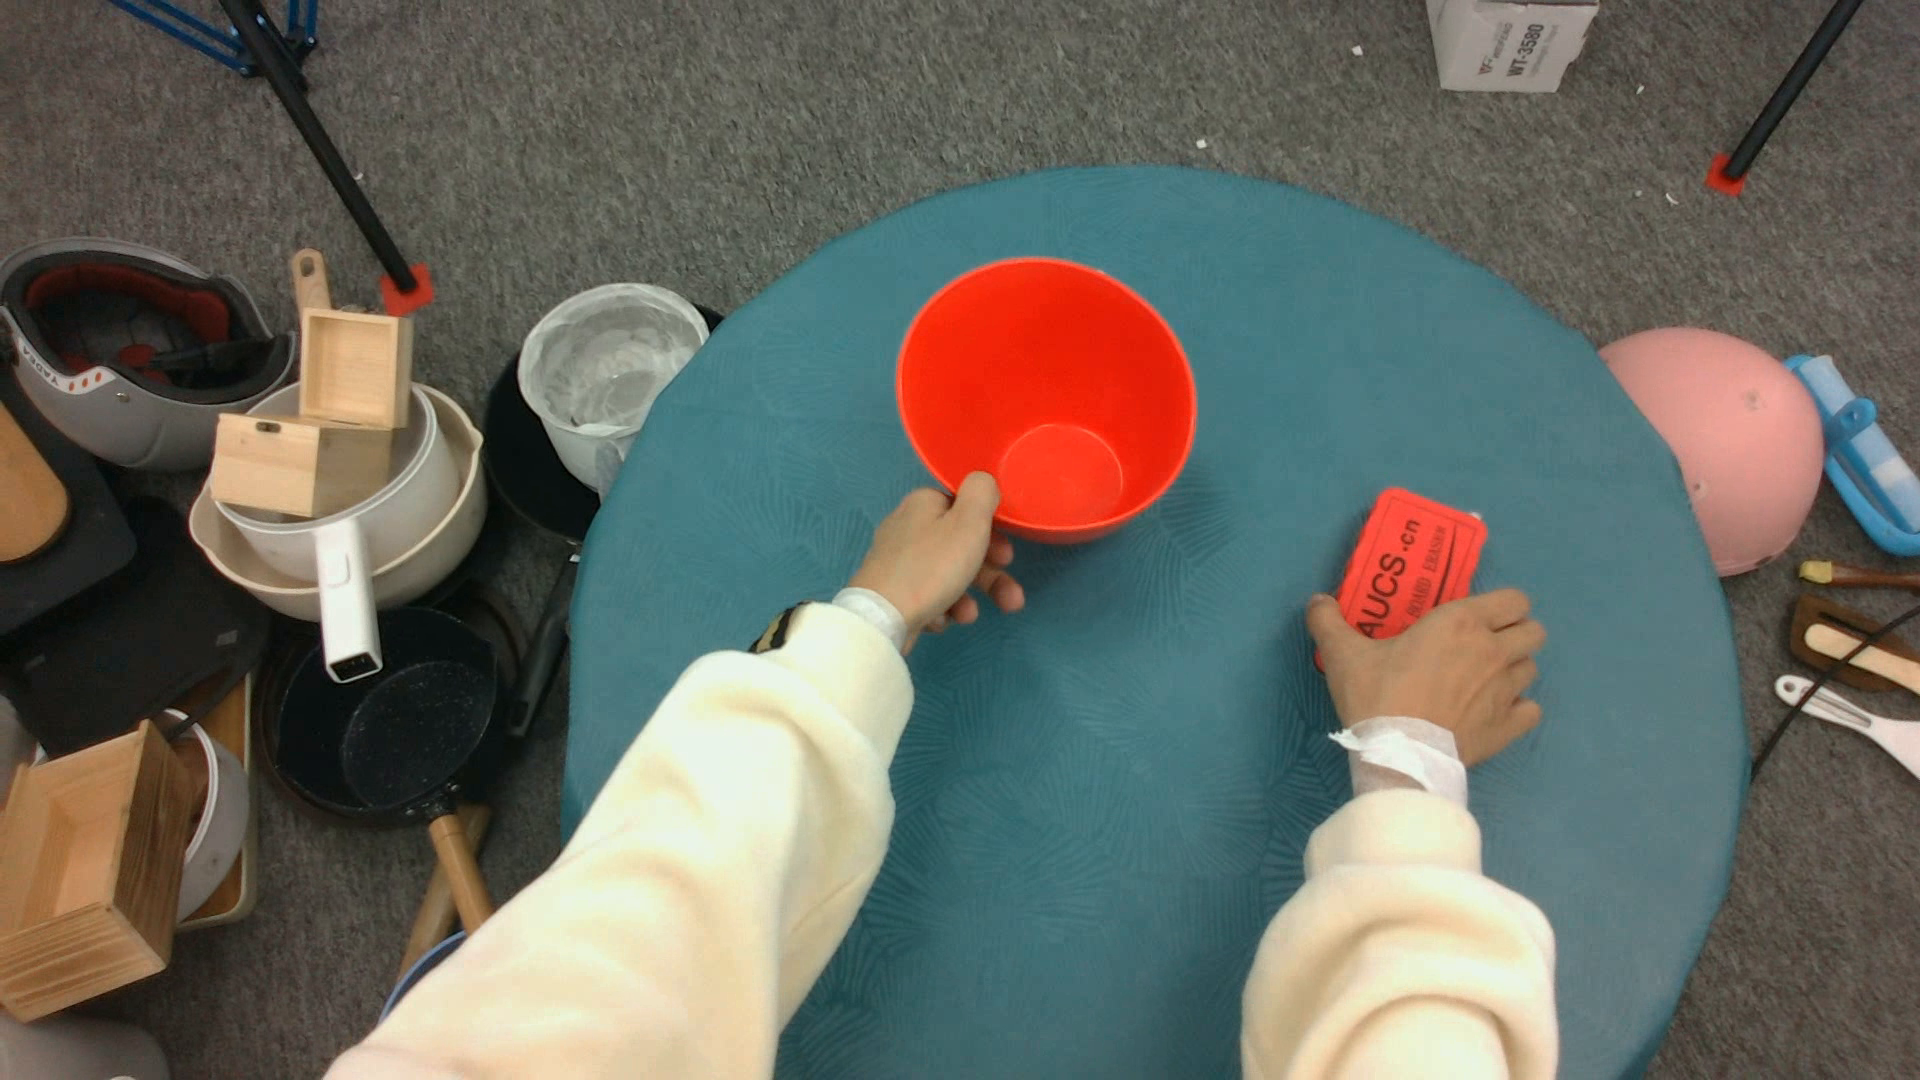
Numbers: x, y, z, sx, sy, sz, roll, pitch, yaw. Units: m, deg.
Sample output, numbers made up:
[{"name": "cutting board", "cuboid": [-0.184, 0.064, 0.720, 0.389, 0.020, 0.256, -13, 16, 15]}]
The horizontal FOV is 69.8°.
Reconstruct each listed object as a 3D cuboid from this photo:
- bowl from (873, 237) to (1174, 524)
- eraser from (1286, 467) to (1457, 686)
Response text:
[{"name": "bowl", "cuboid": [0.033, -0.067, 0.705, 0.148, 0.104, 0.148, 0, 65, 0]}, {"name": "eraser", "cuboid": [0.212, 0.018, 0.709, 0.059, 0.023, 0.108, 24, 67, 9]}]
